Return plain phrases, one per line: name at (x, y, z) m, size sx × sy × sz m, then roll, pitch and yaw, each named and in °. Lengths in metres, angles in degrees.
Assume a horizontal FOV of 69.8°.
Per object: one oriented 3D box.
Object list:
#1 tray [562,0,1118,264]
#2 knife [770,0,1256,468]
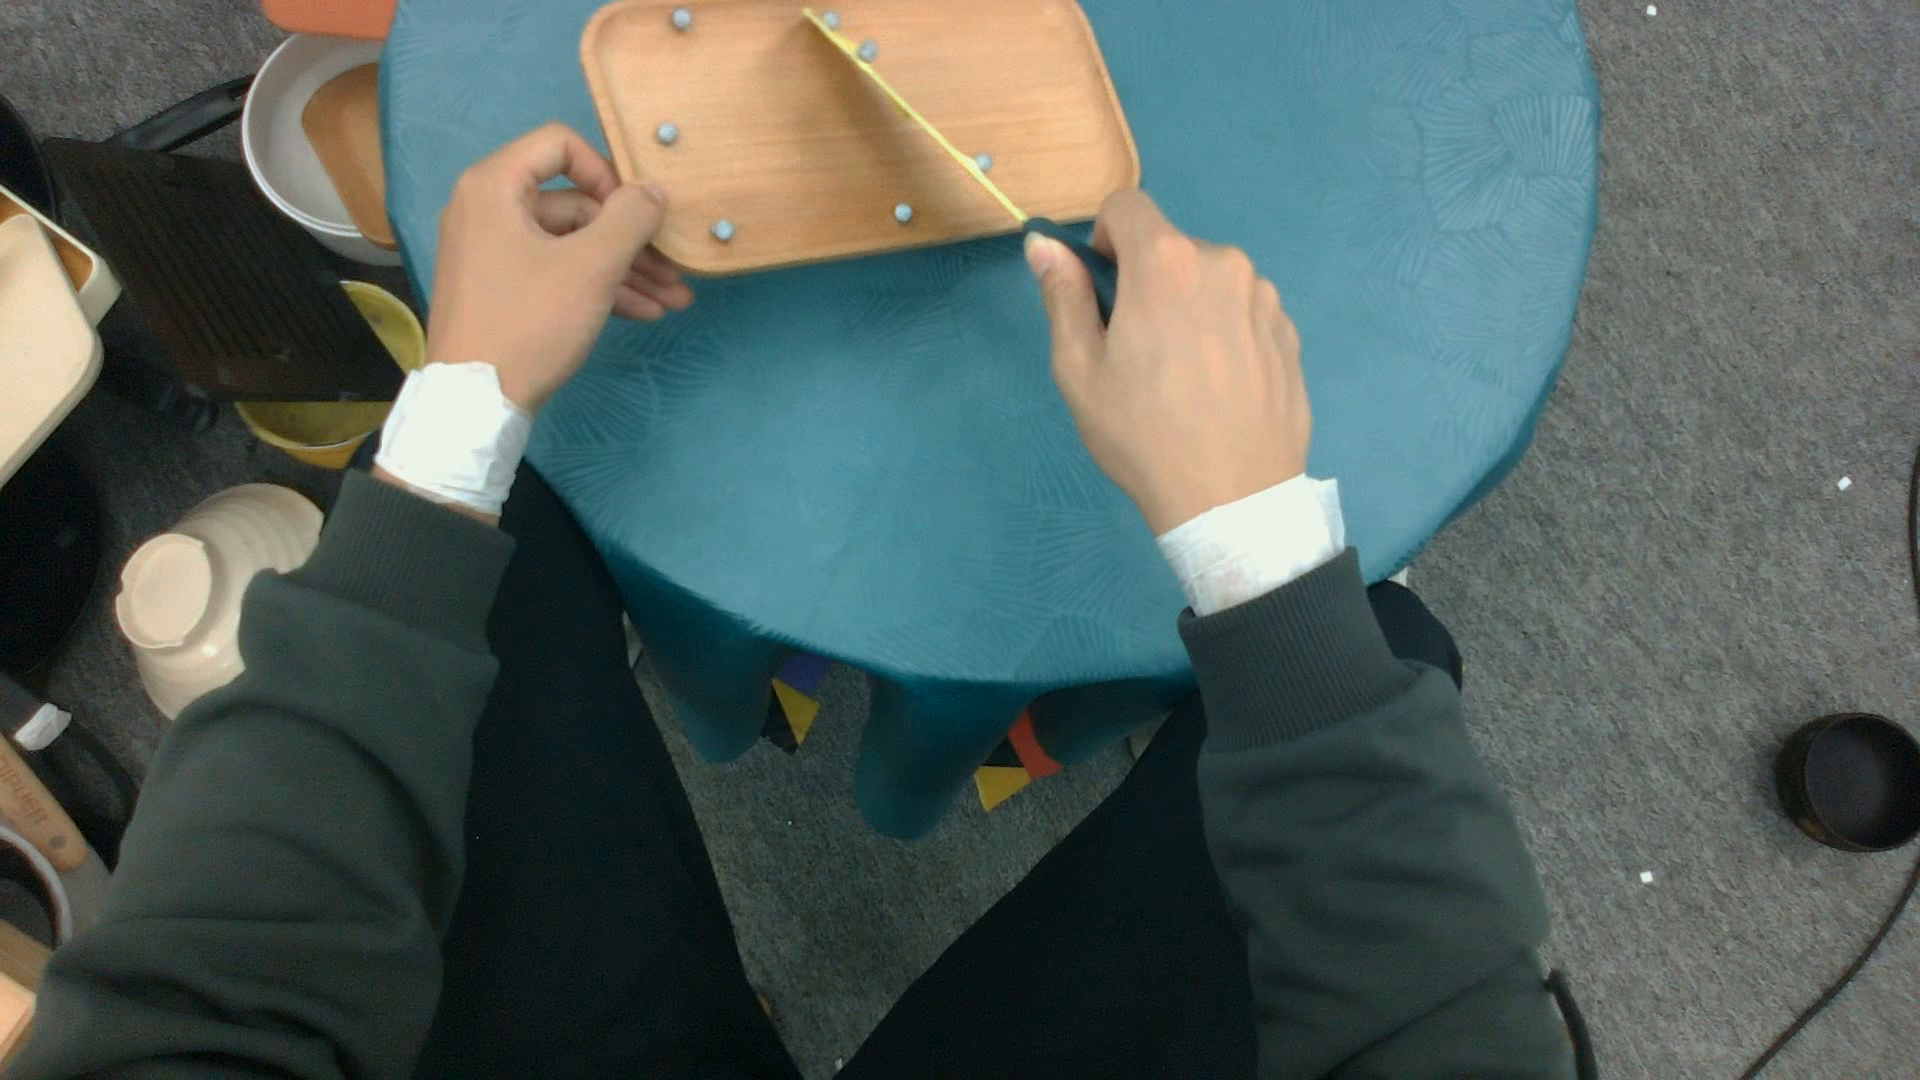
tray at (-0.046, -0.198, 0.625) m, size 0.251 × 0.023 × 0.130 m, roll -15°, pitch 83°, yaw -28°
knife at (0.015, -0.135, 0.572) m, size 0.027 × 0.081 × 0.289 m, roll -46°, pitch 78°, yaw 13°
